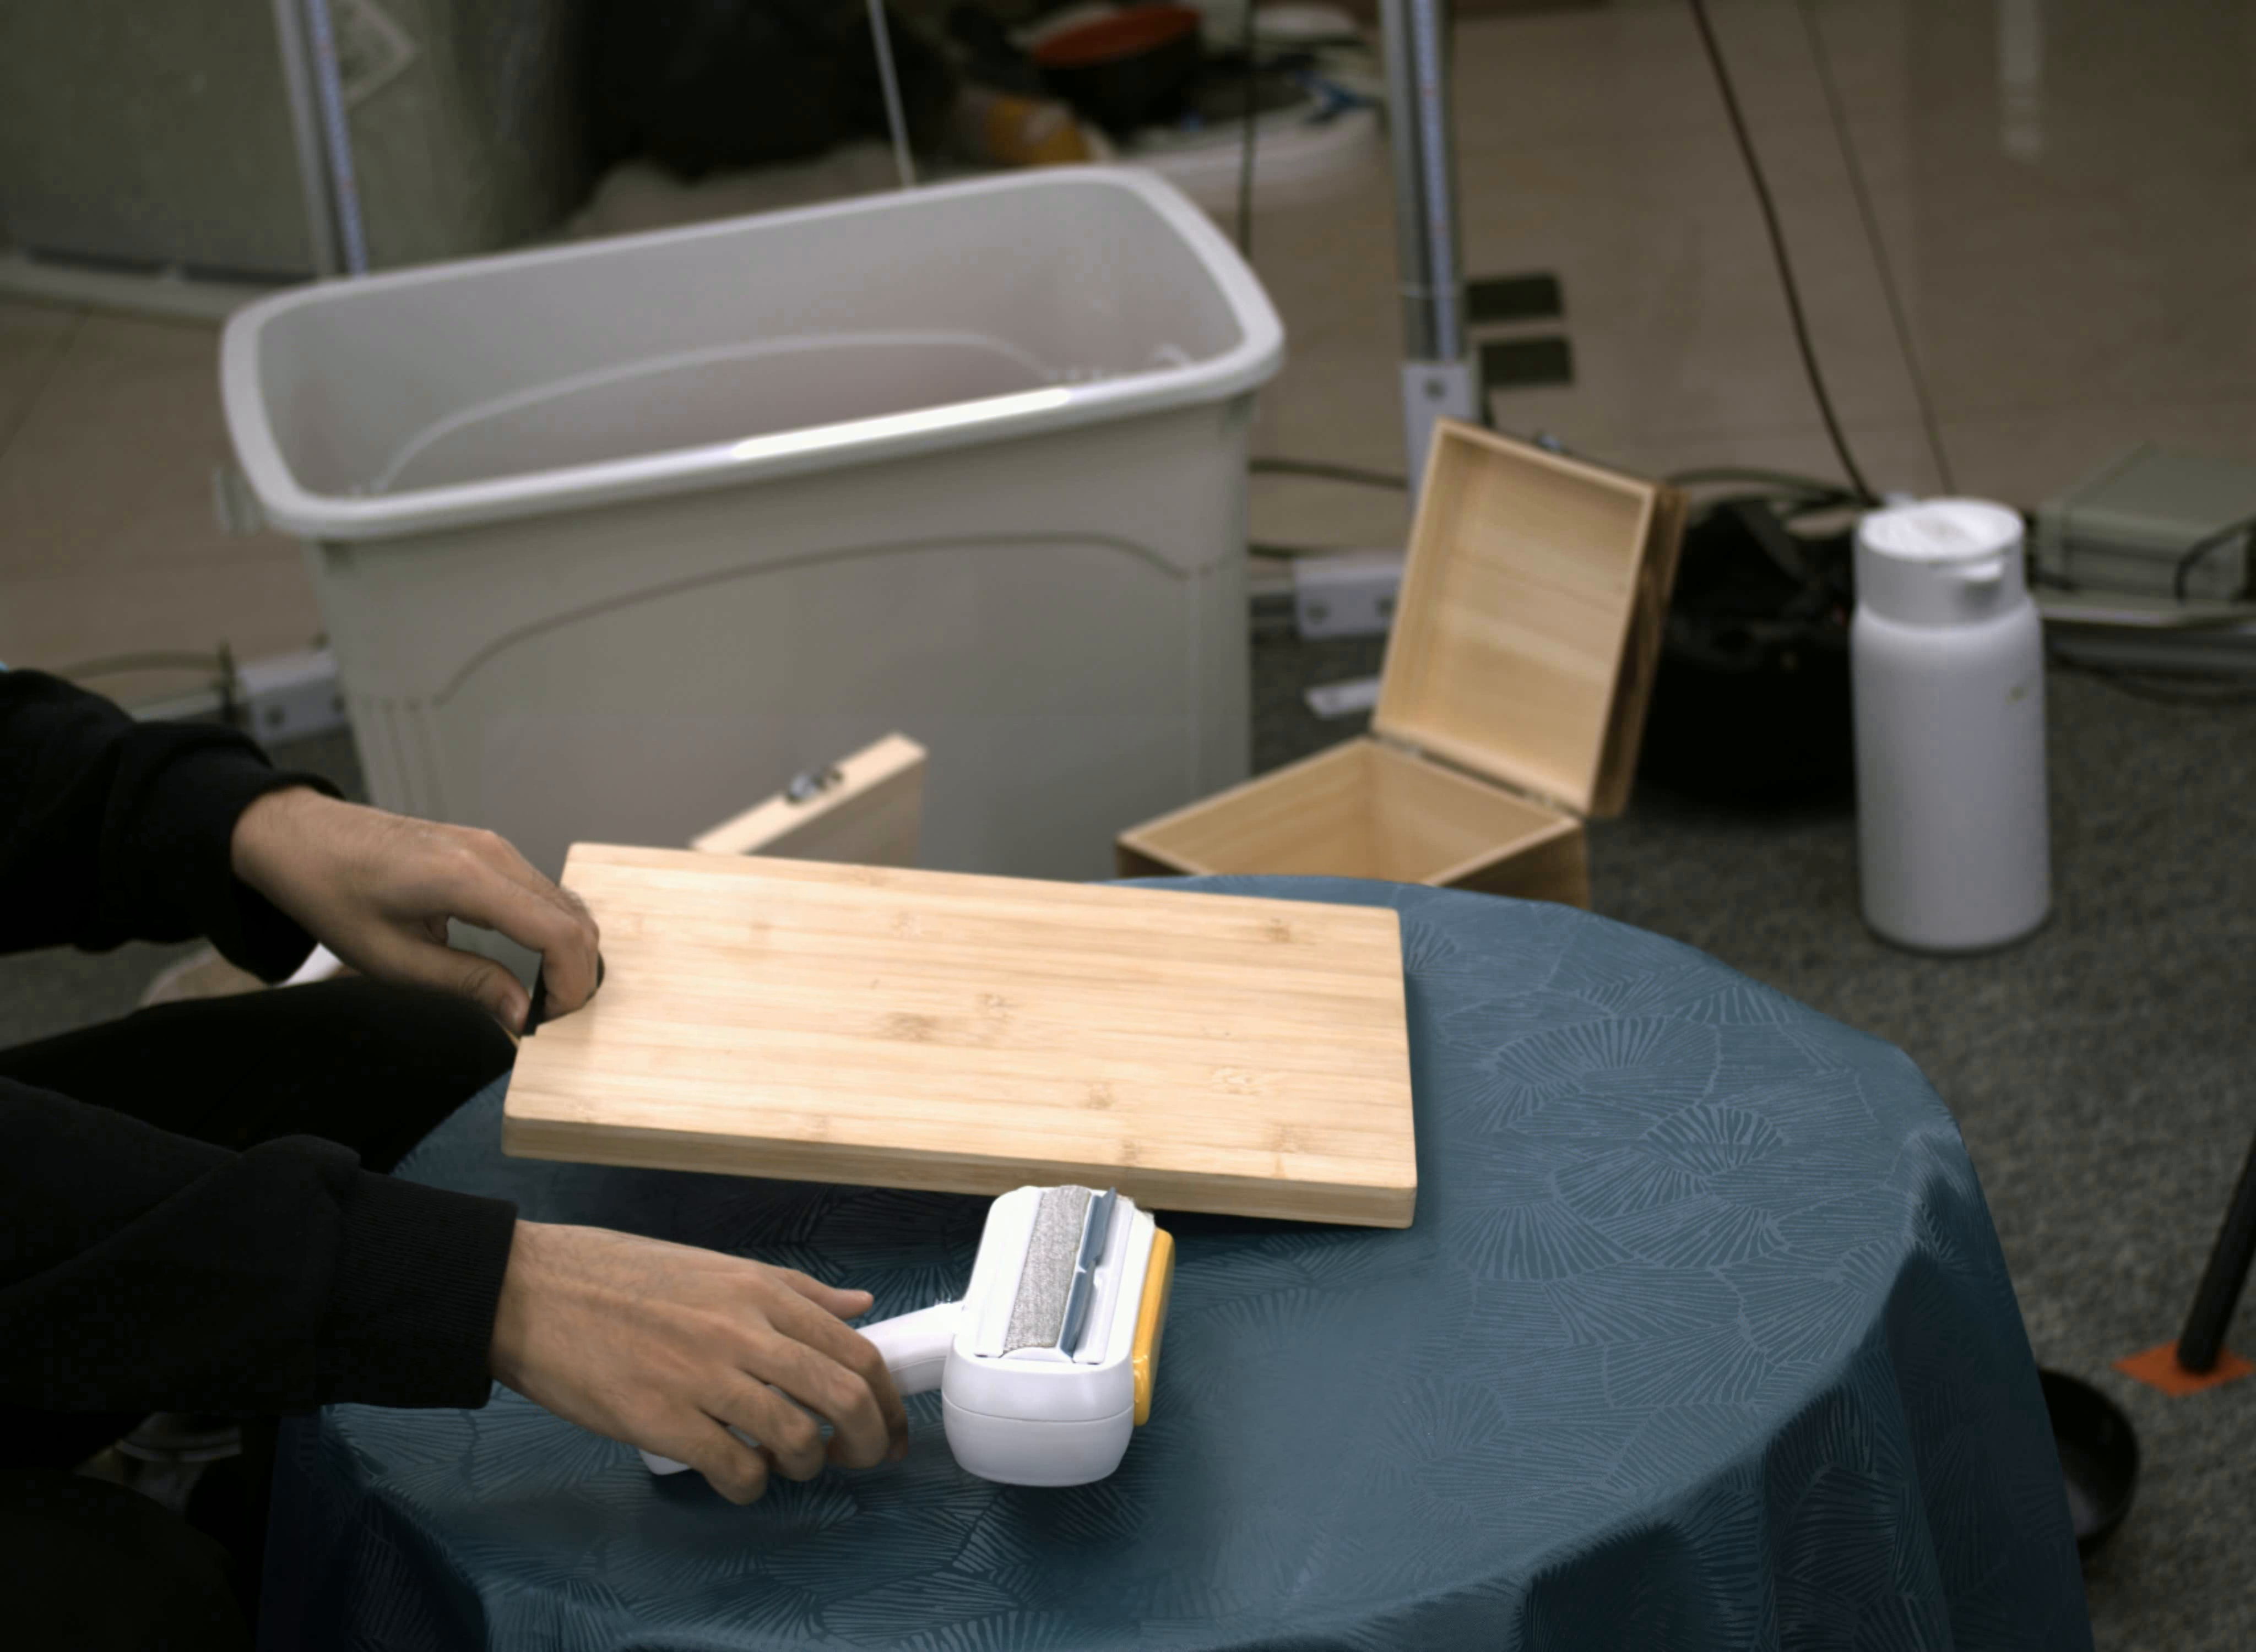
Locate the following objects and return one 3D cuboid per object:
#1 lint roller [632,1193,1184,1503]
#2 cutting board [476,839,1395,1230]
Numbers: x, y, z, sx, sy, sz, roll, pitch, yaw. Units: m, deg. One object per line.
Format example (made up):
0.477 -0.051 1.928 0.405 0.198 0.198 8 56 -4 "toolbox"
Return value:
-0.082 0.188 1.978 0.192 0.075 0.190 -4 20 9 "lint roller"
-0.066 0.078 2.197 0.348 0.024 0.247 4 25 -2 "cutting board"
